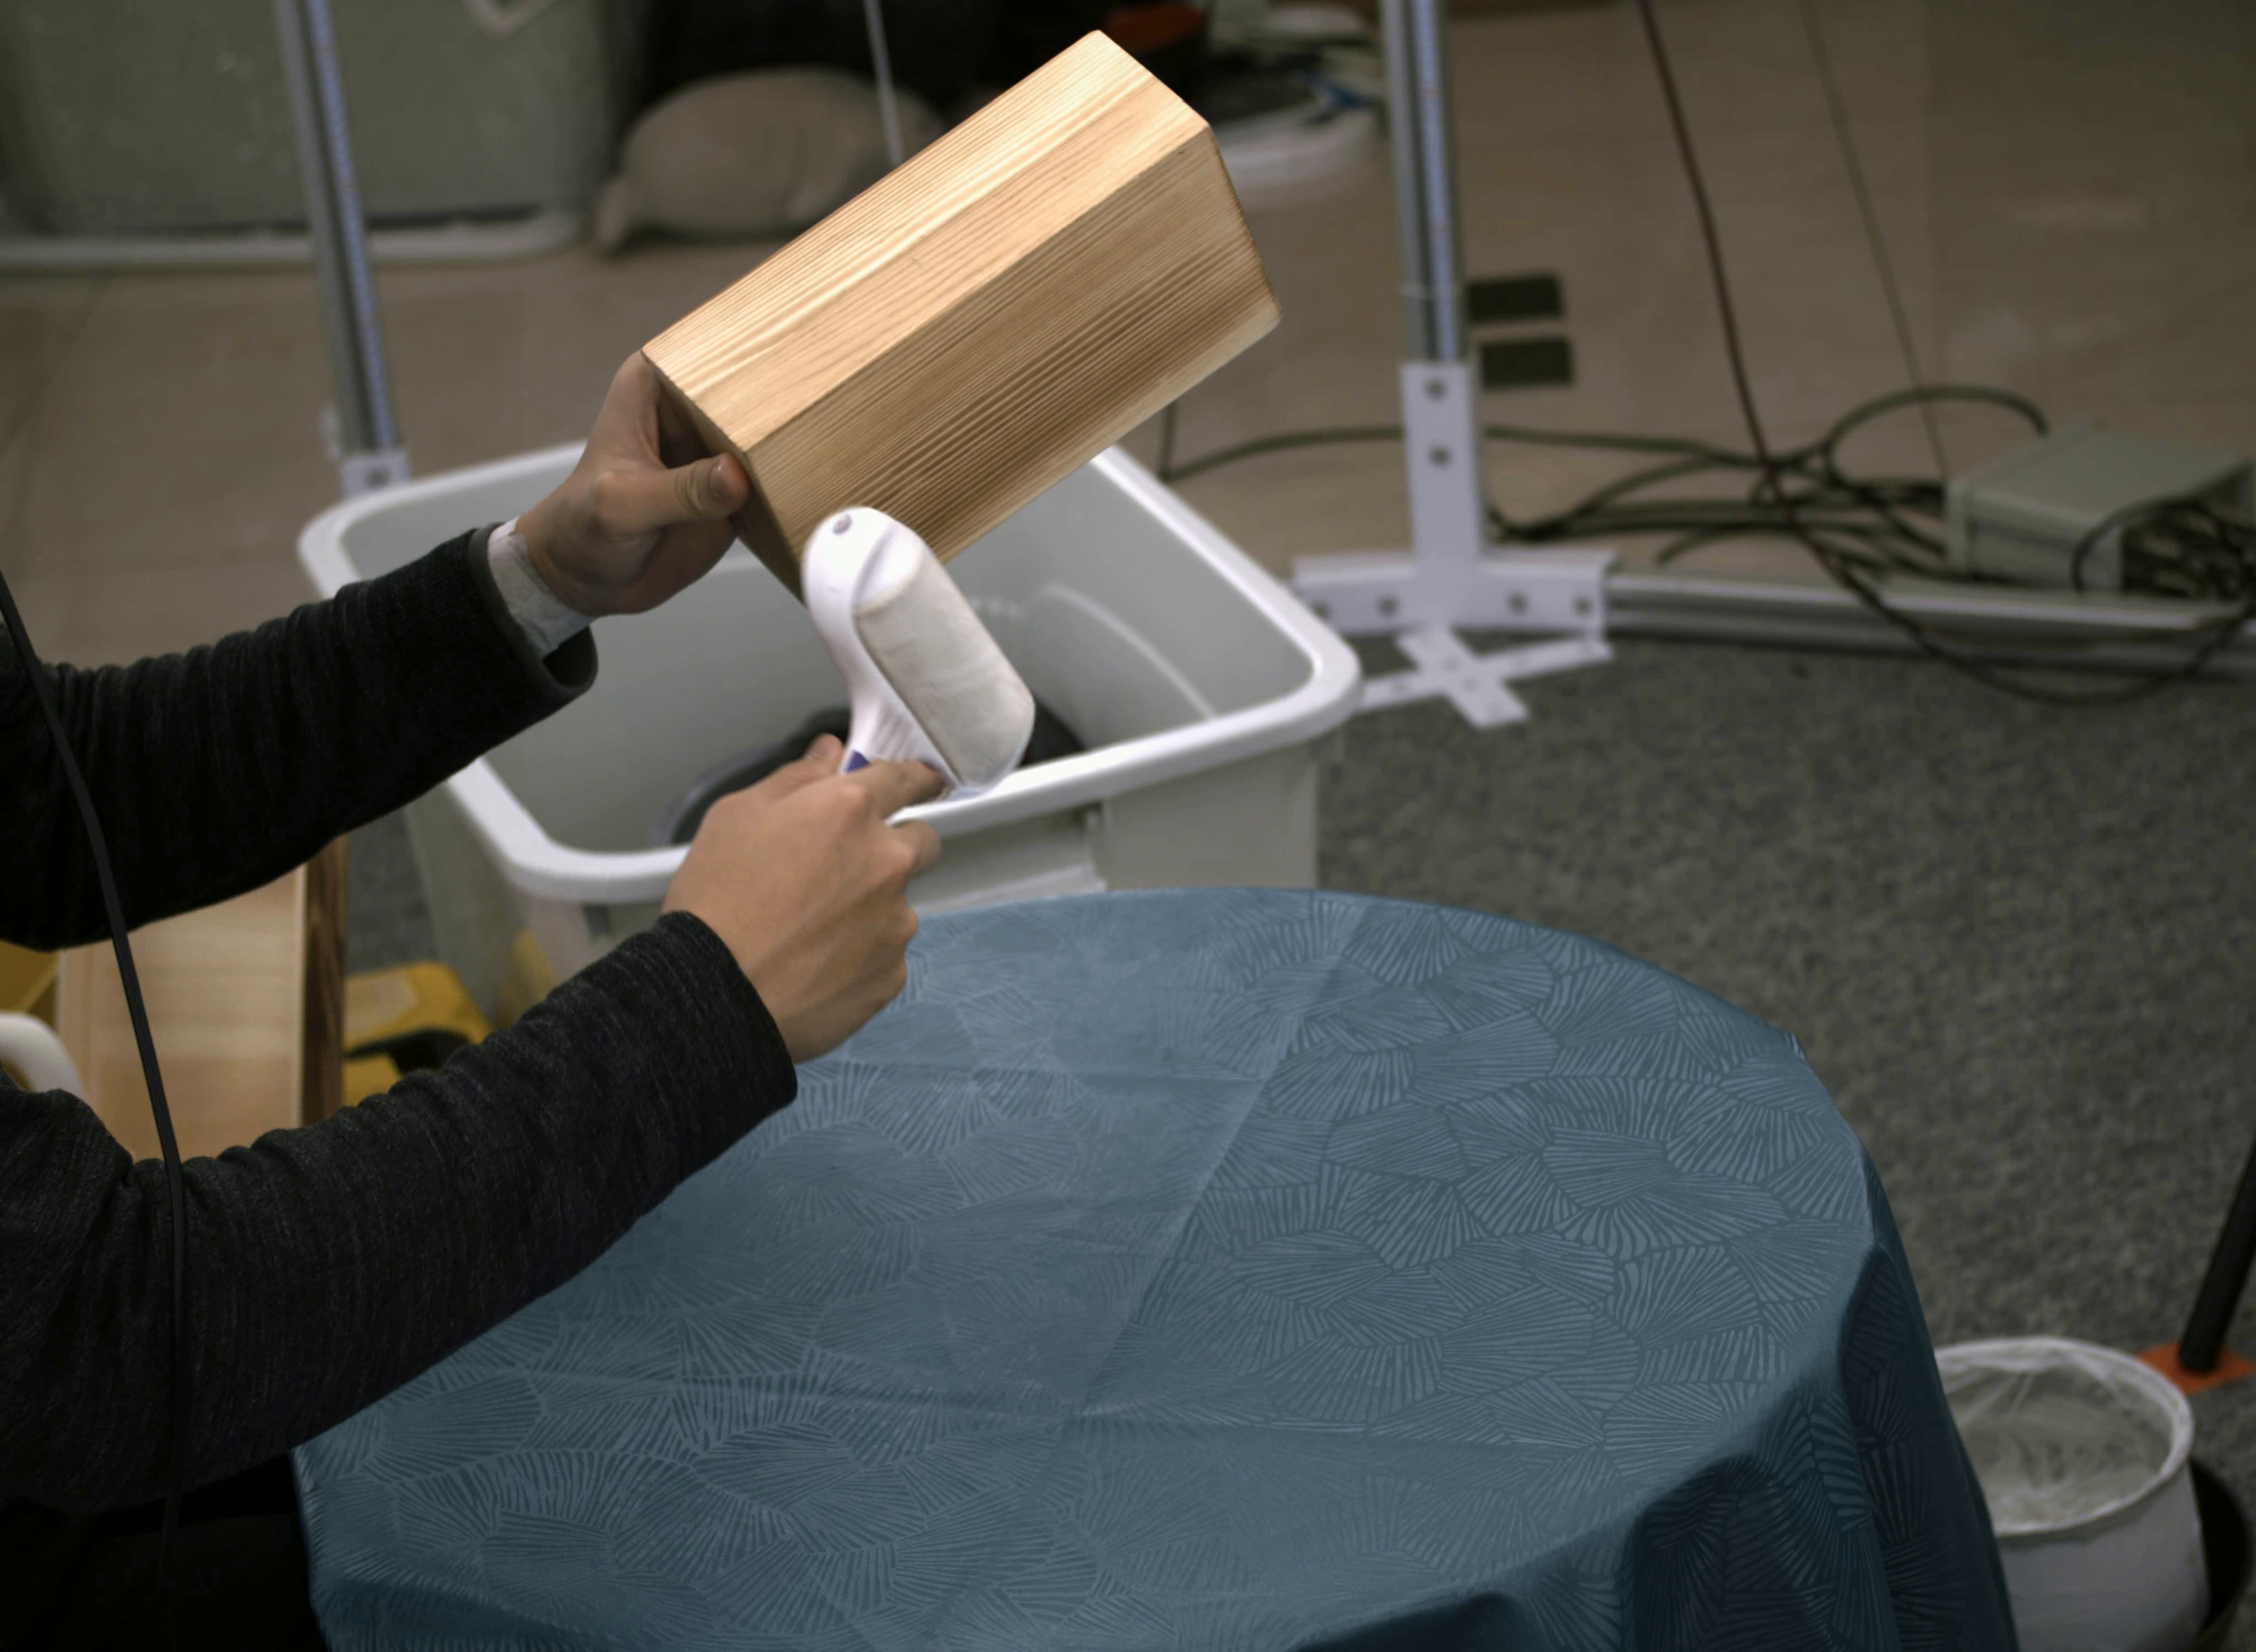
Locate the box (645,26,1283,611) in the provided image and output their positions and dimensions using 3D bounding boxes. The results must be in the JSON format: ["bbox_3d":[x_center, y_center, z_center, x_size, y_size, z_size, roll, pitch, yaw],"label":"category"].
[{"bbox_3d":[-0.059,-0.182,2.084,0.210,0.109,0.079,-36,49,-10],"label":"box"}]

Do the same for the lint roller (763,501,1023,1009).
[{"bbox_3d":[-0.091,-0.015,2.008,0.050,0.135,0.178,-6,52,24],"label":"lint roller"}]
